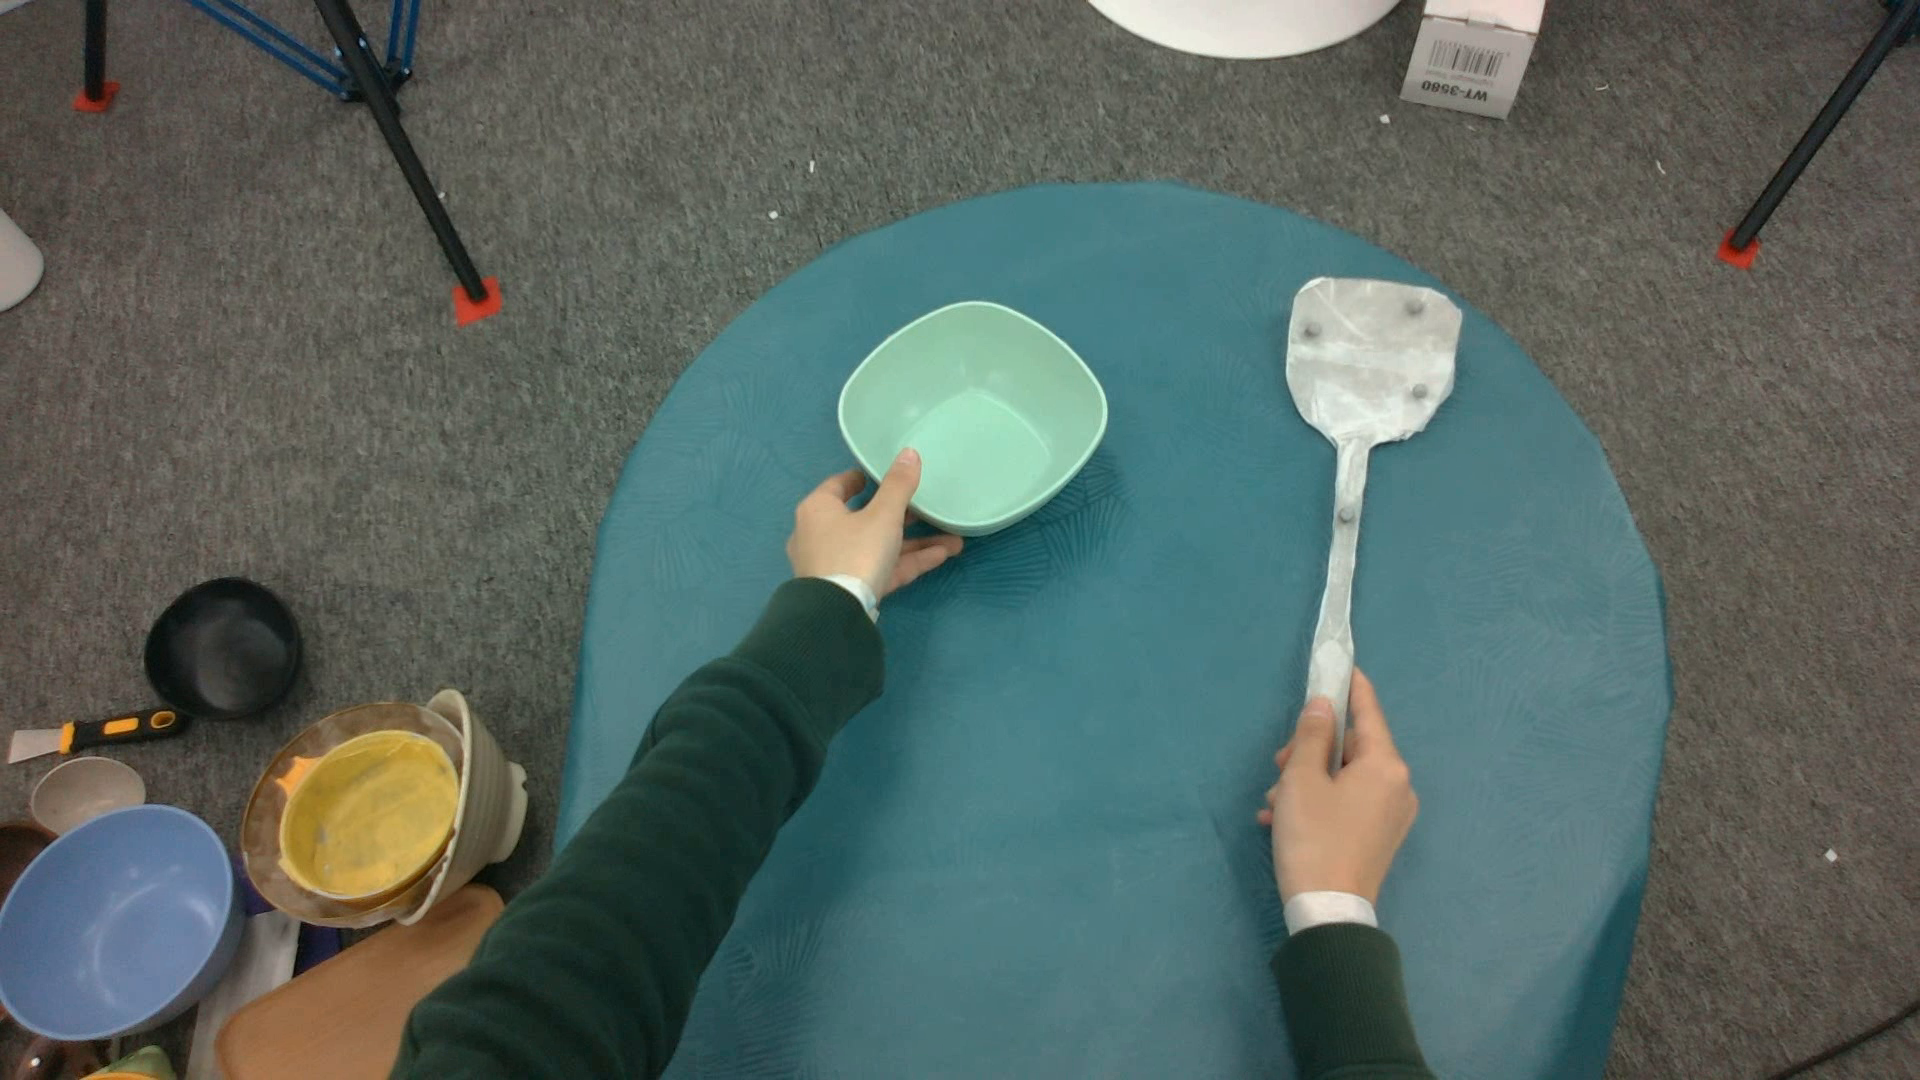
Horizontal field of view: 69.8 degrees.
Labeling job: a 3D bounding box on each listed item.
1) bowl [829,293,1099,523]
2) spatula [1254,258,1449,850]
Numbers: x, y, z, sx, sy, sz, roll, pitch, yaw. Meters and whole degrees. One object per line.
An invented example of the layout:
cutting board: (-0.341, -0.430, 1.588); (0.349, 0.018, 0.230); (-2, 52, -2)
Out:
bowl: (0.003, -0.066, 0.790); (0.151, 0.058, 0.152); (-1, 59, 1)
spatula: (0.204, -0.005, 0.760); (0.098, 0.044, 0.366); (12, 60, 8)
